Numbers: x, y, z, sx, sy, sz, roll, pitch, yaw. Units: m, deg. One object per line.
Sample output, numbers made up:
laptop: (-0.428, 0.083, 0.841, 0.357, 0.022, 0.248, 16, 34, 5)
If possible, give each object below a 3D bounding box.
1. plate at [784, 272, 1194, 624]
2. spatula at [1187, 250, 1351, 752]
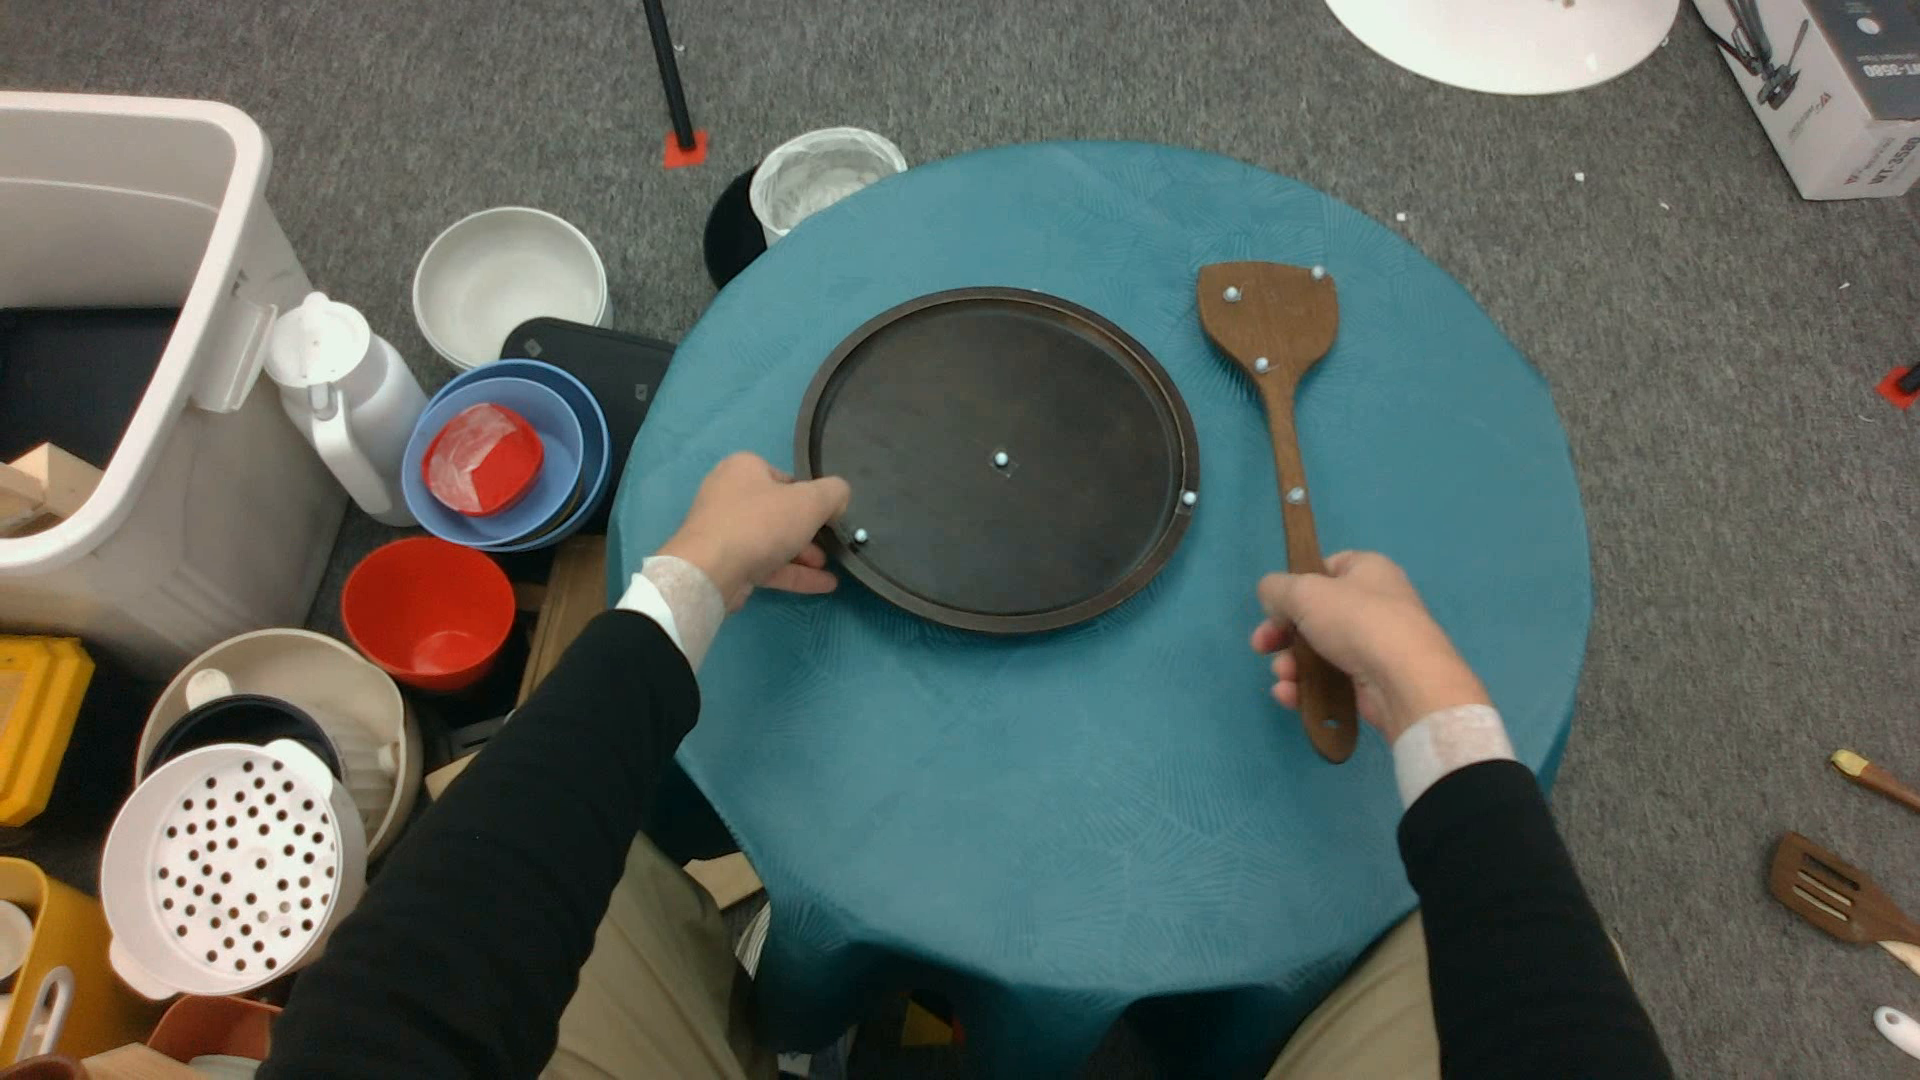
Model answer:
plate: (0.018, -0.062, 0.853, 0.255, 0.029, 0.256, 3, 62, -5)
spatula: (0.194, -0.045, 0.823, 0.096, 0.016, 0.388, 4, 51, -3)
